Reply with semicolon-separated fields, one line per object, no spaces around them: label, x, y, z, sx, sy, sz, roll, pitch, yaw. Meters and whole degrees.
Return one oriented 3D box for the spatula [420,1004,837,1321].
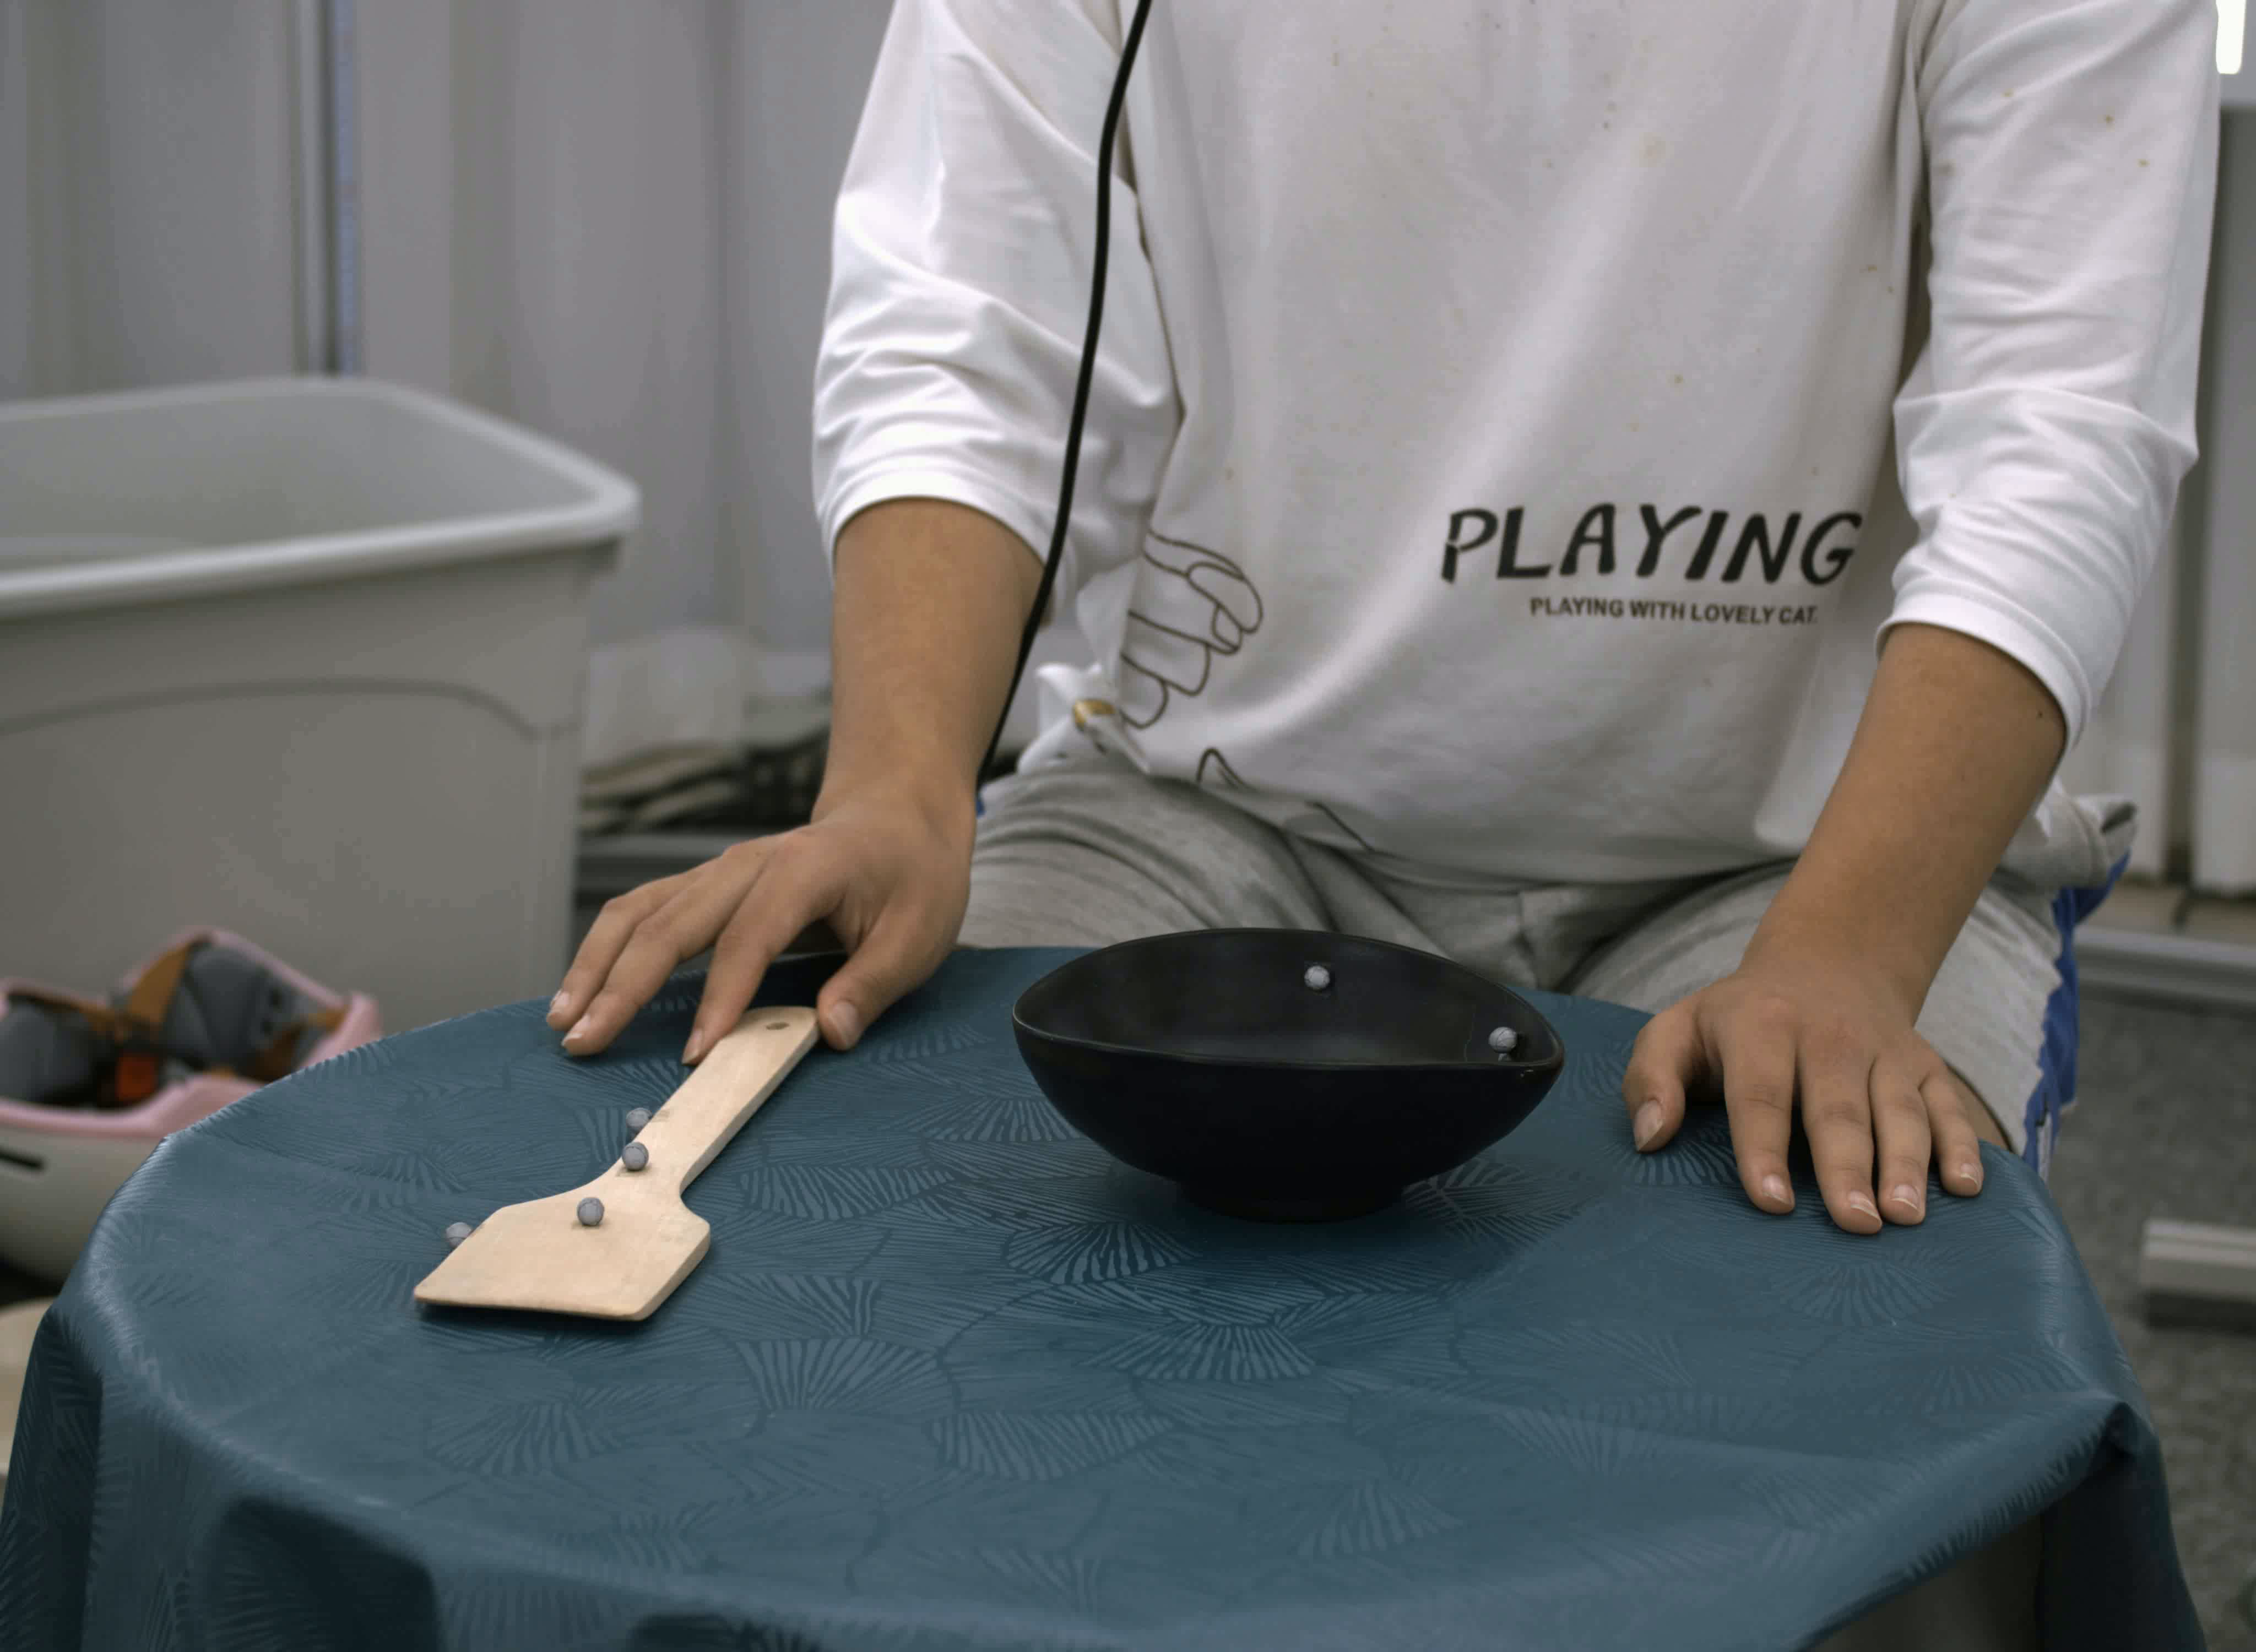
spatula;-0.142;0.101;1.643;0.072;0.011;0.292;3;16;12

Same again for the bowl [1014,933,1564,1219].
bowl;0.049;0.081;1.627;0.170;0.067;0.136;3;15;0
